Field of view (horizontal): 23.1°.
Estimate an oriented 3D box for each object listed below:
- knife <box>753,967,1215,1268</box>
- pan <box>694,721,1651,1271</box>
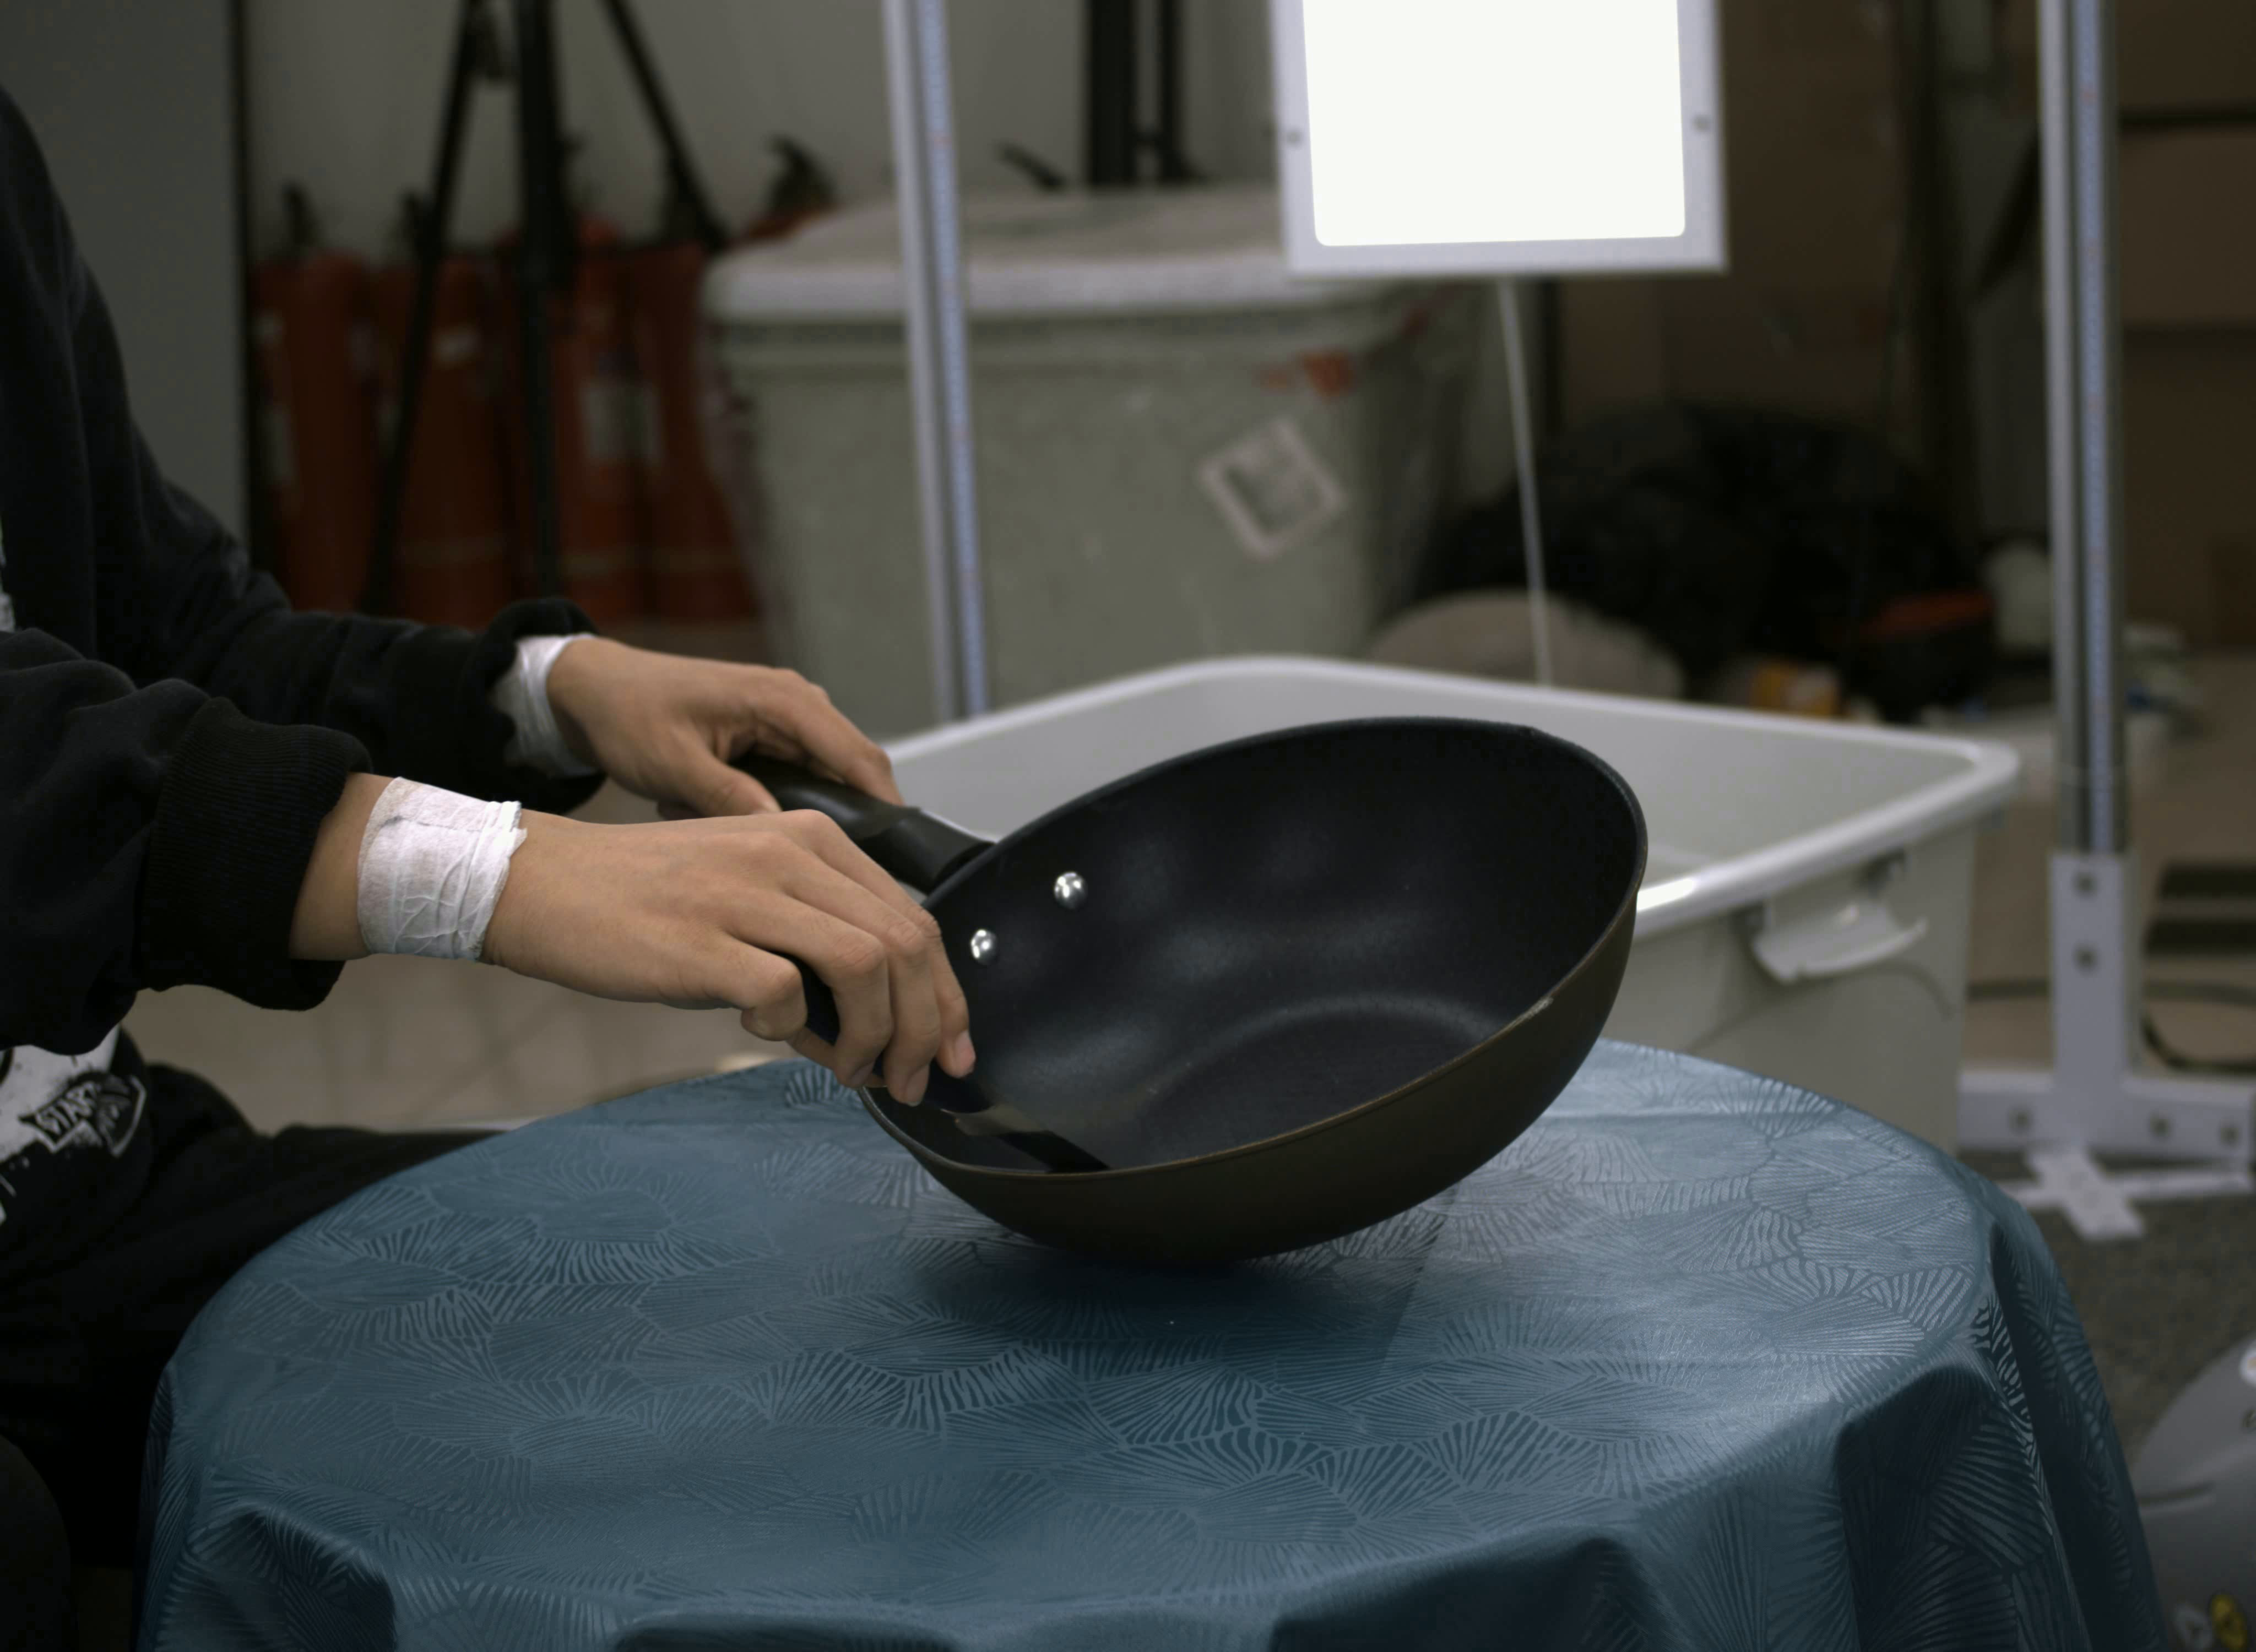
[{"bbox_3d":[-0.039,0.094,1.726,0.027,0.017,0.221,-25,-41,33],"label":"knife"},{"bbox_3d":[-0.008,0.053,1.931,0.282,0.087,0.473,-35,30,-28],"label":"pan"}]
